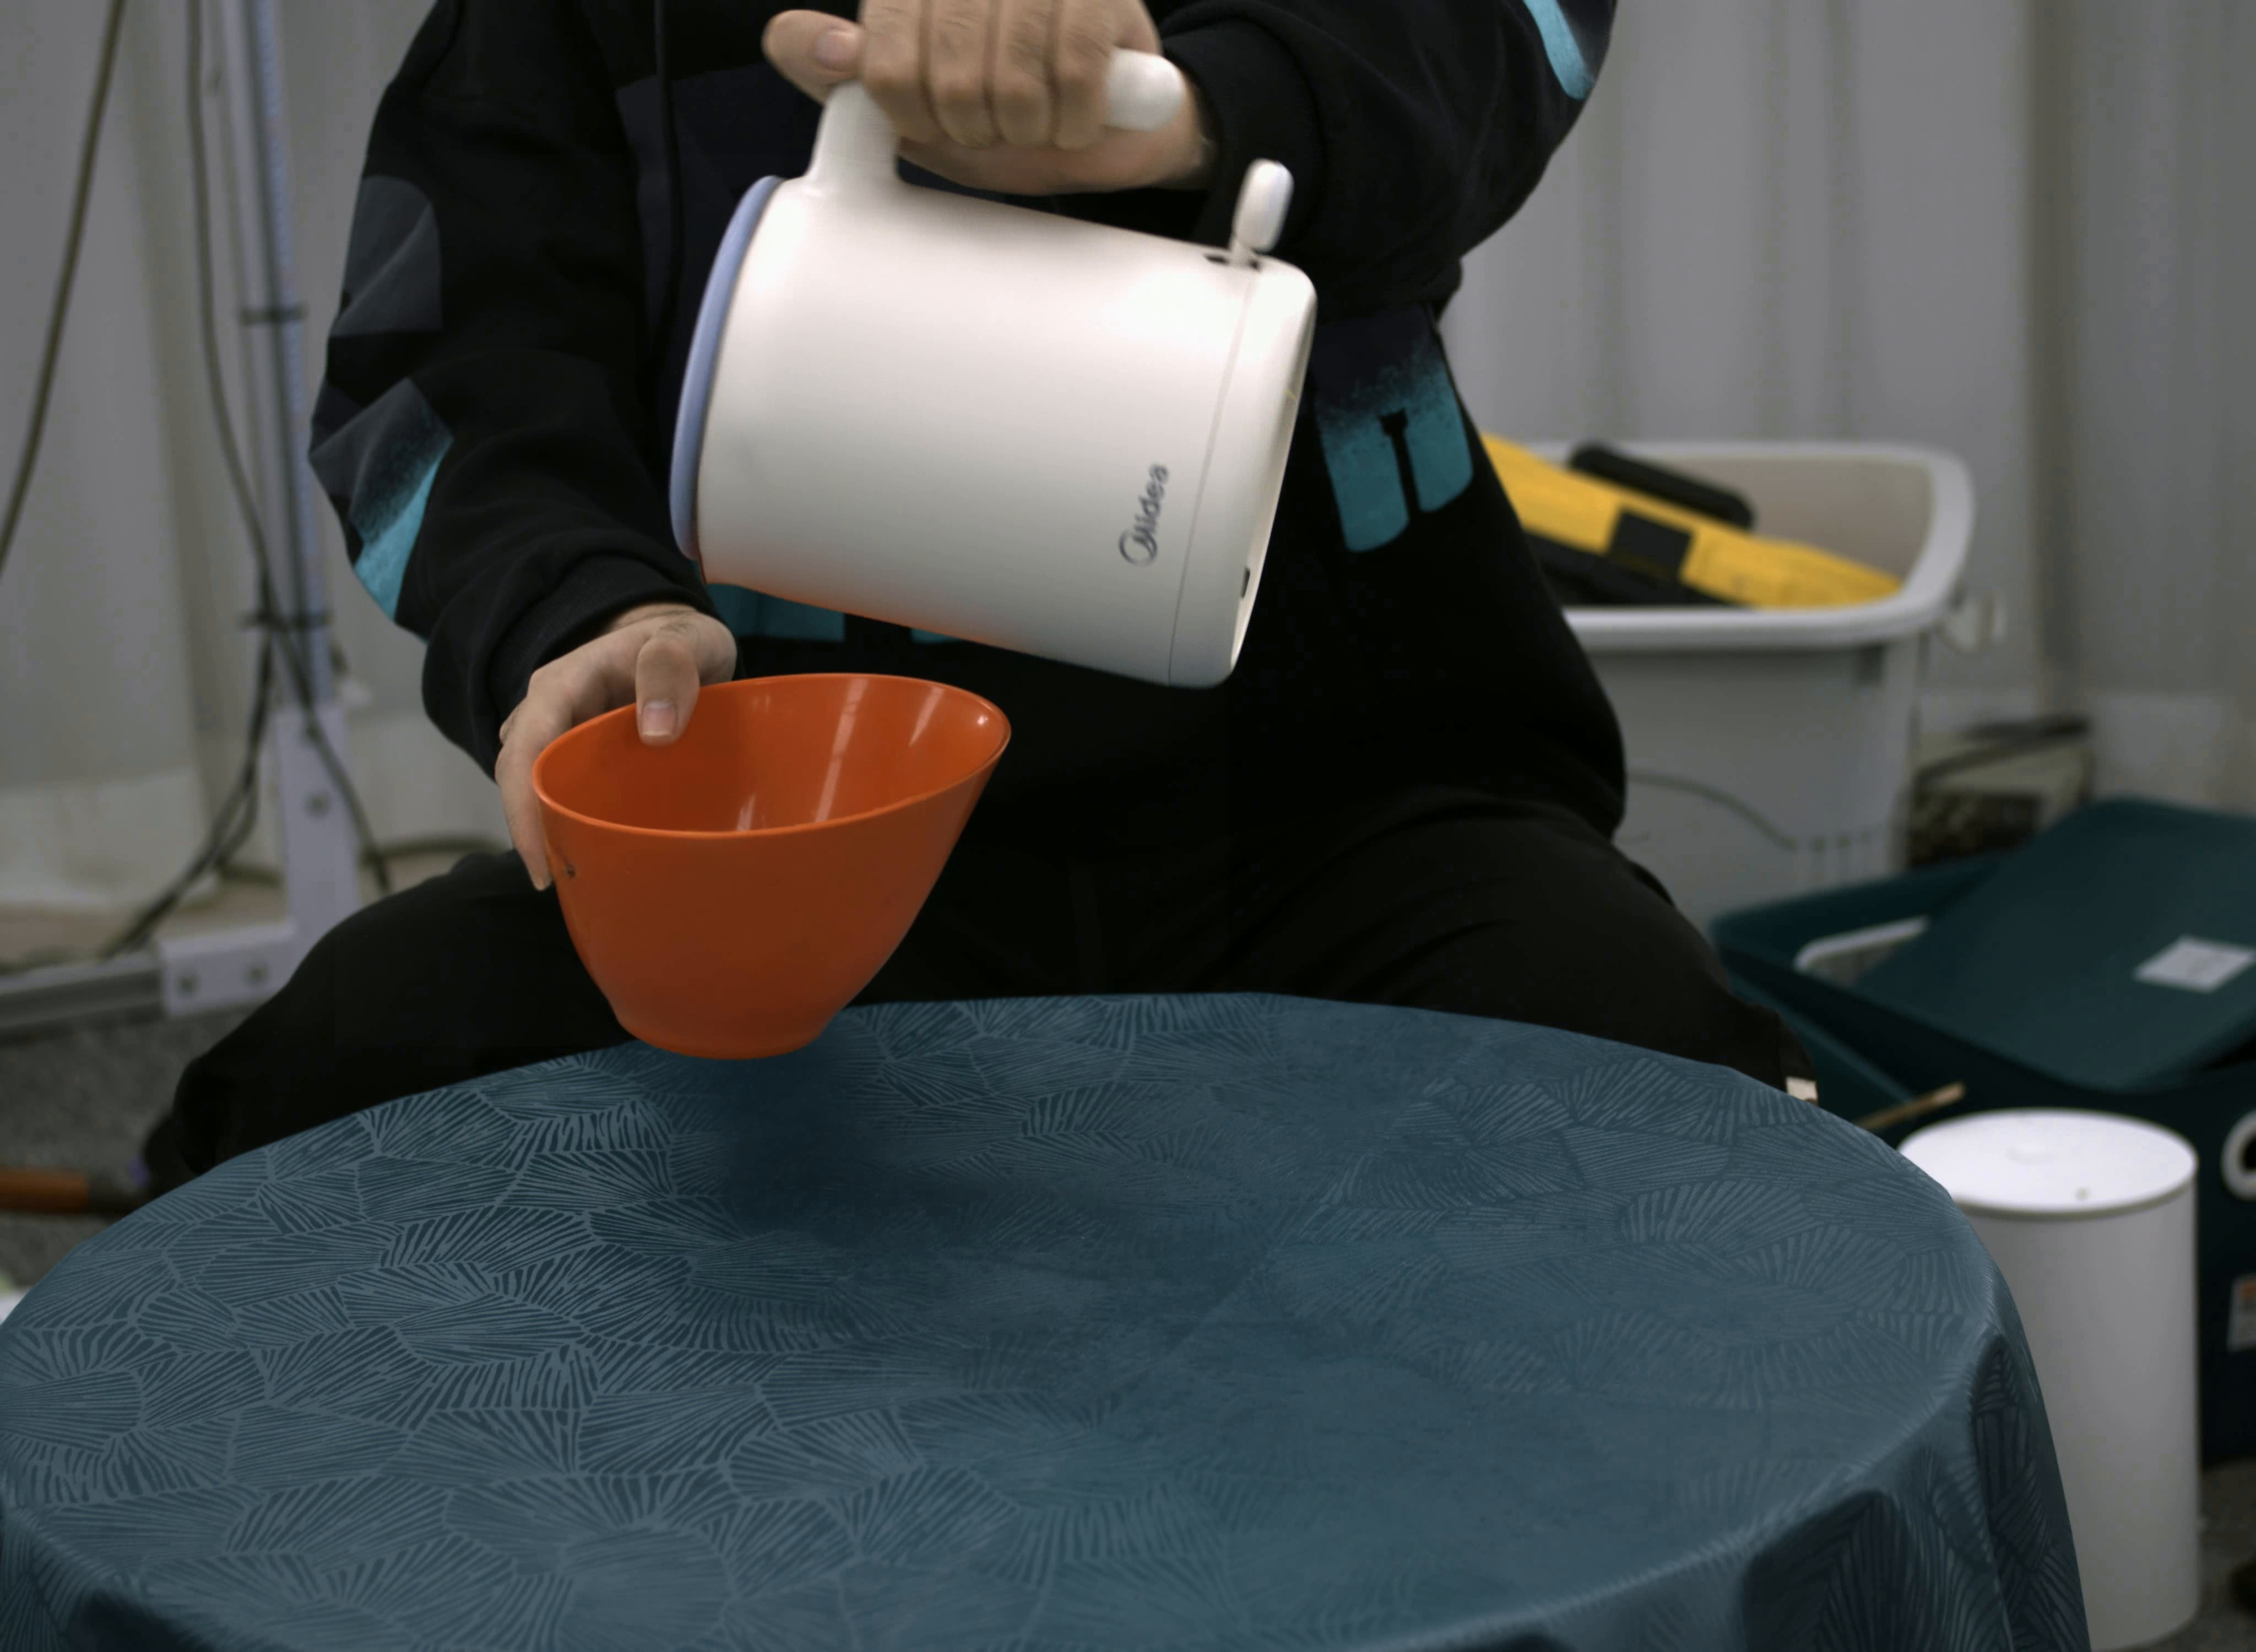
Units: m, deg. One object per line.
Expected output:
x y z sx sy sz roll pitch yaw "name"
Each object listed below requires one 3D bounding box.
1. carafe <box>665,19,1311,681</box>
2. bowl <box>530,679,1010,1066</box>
-0.036 -0.146 1.643 0.182 0.190 0.133 13 16 3 "carafe"
-0.114 0.016 1.699 0.147 0.104 0.149 5 21 -2 "bowl"
